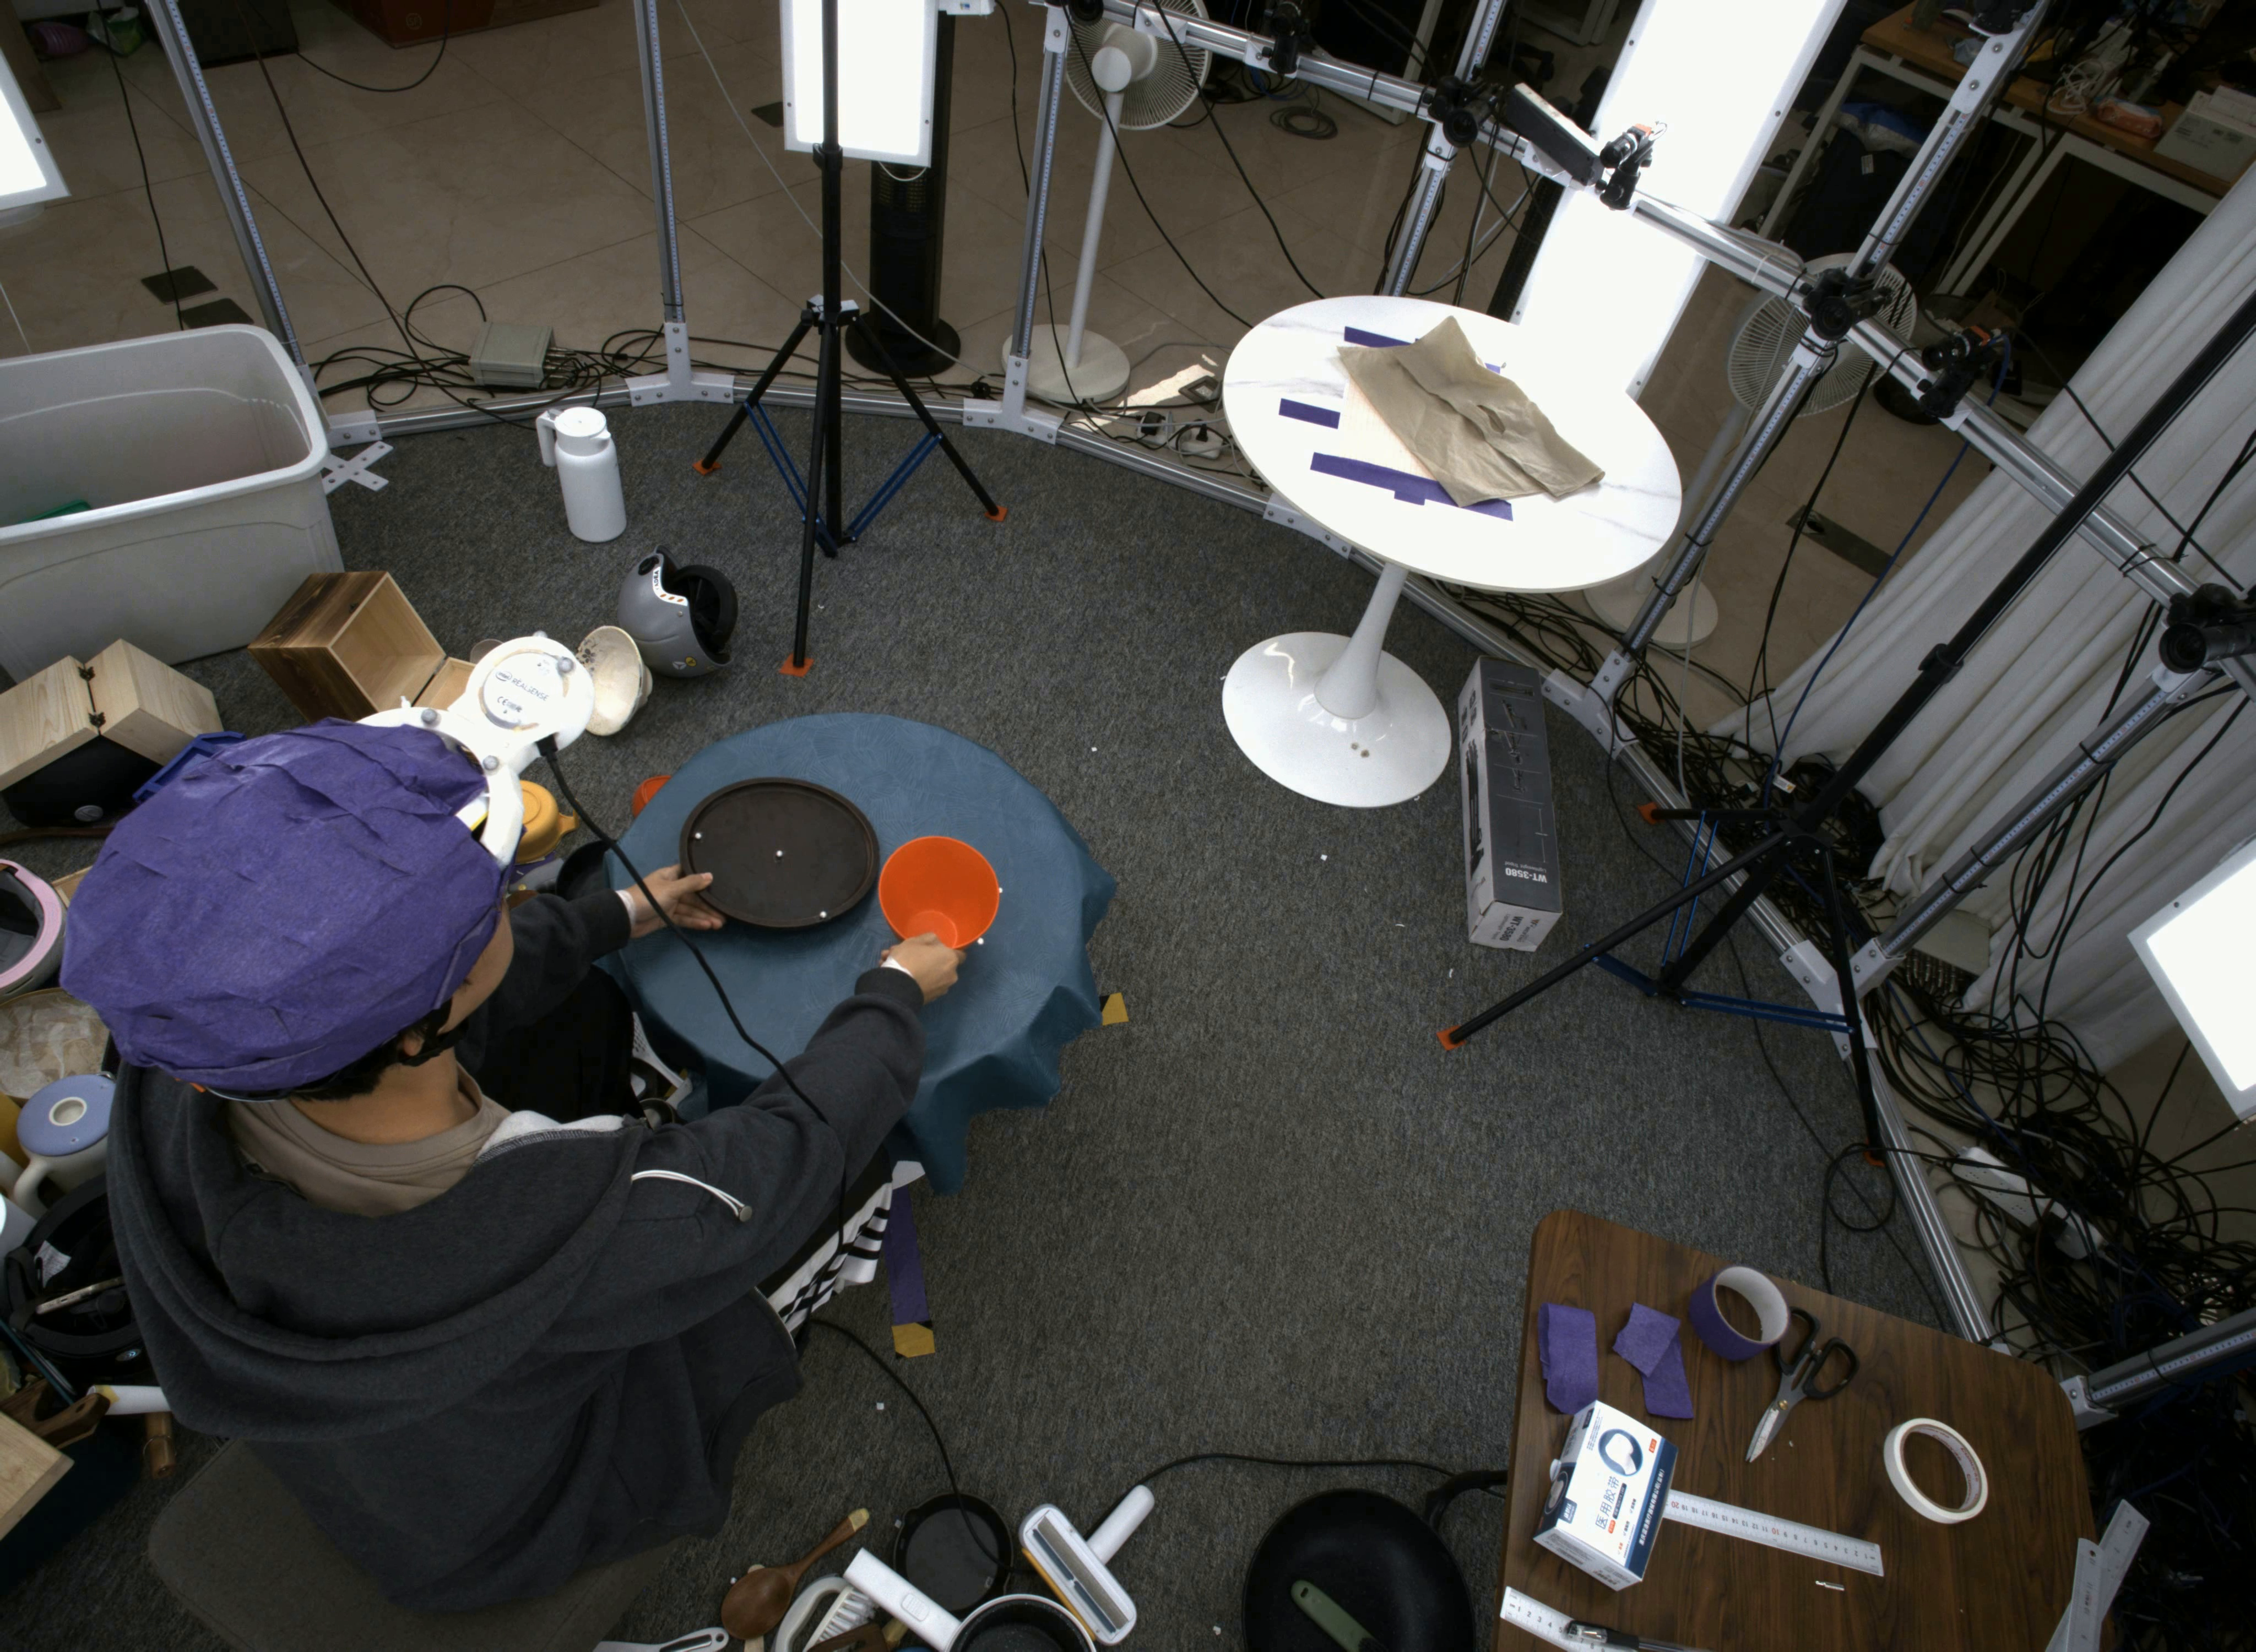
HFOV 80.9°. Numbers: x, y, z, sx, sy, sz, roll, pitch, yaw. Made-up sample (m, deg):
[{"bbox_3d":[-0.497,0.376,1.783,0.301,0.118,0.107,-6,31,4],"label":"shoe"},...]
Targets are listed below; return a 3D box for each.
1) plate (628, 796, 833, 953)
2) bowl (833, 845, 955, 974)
[{"bbox_3d":[-0.502,0.057,1.633,0.255,0.029,0.250,13,46,-12],"label":"plate"},{"bbox_3d":[-0.291,0.113,1.600,0.148,0.106,0.145,10,54,-13],"label":"bowl"}]
